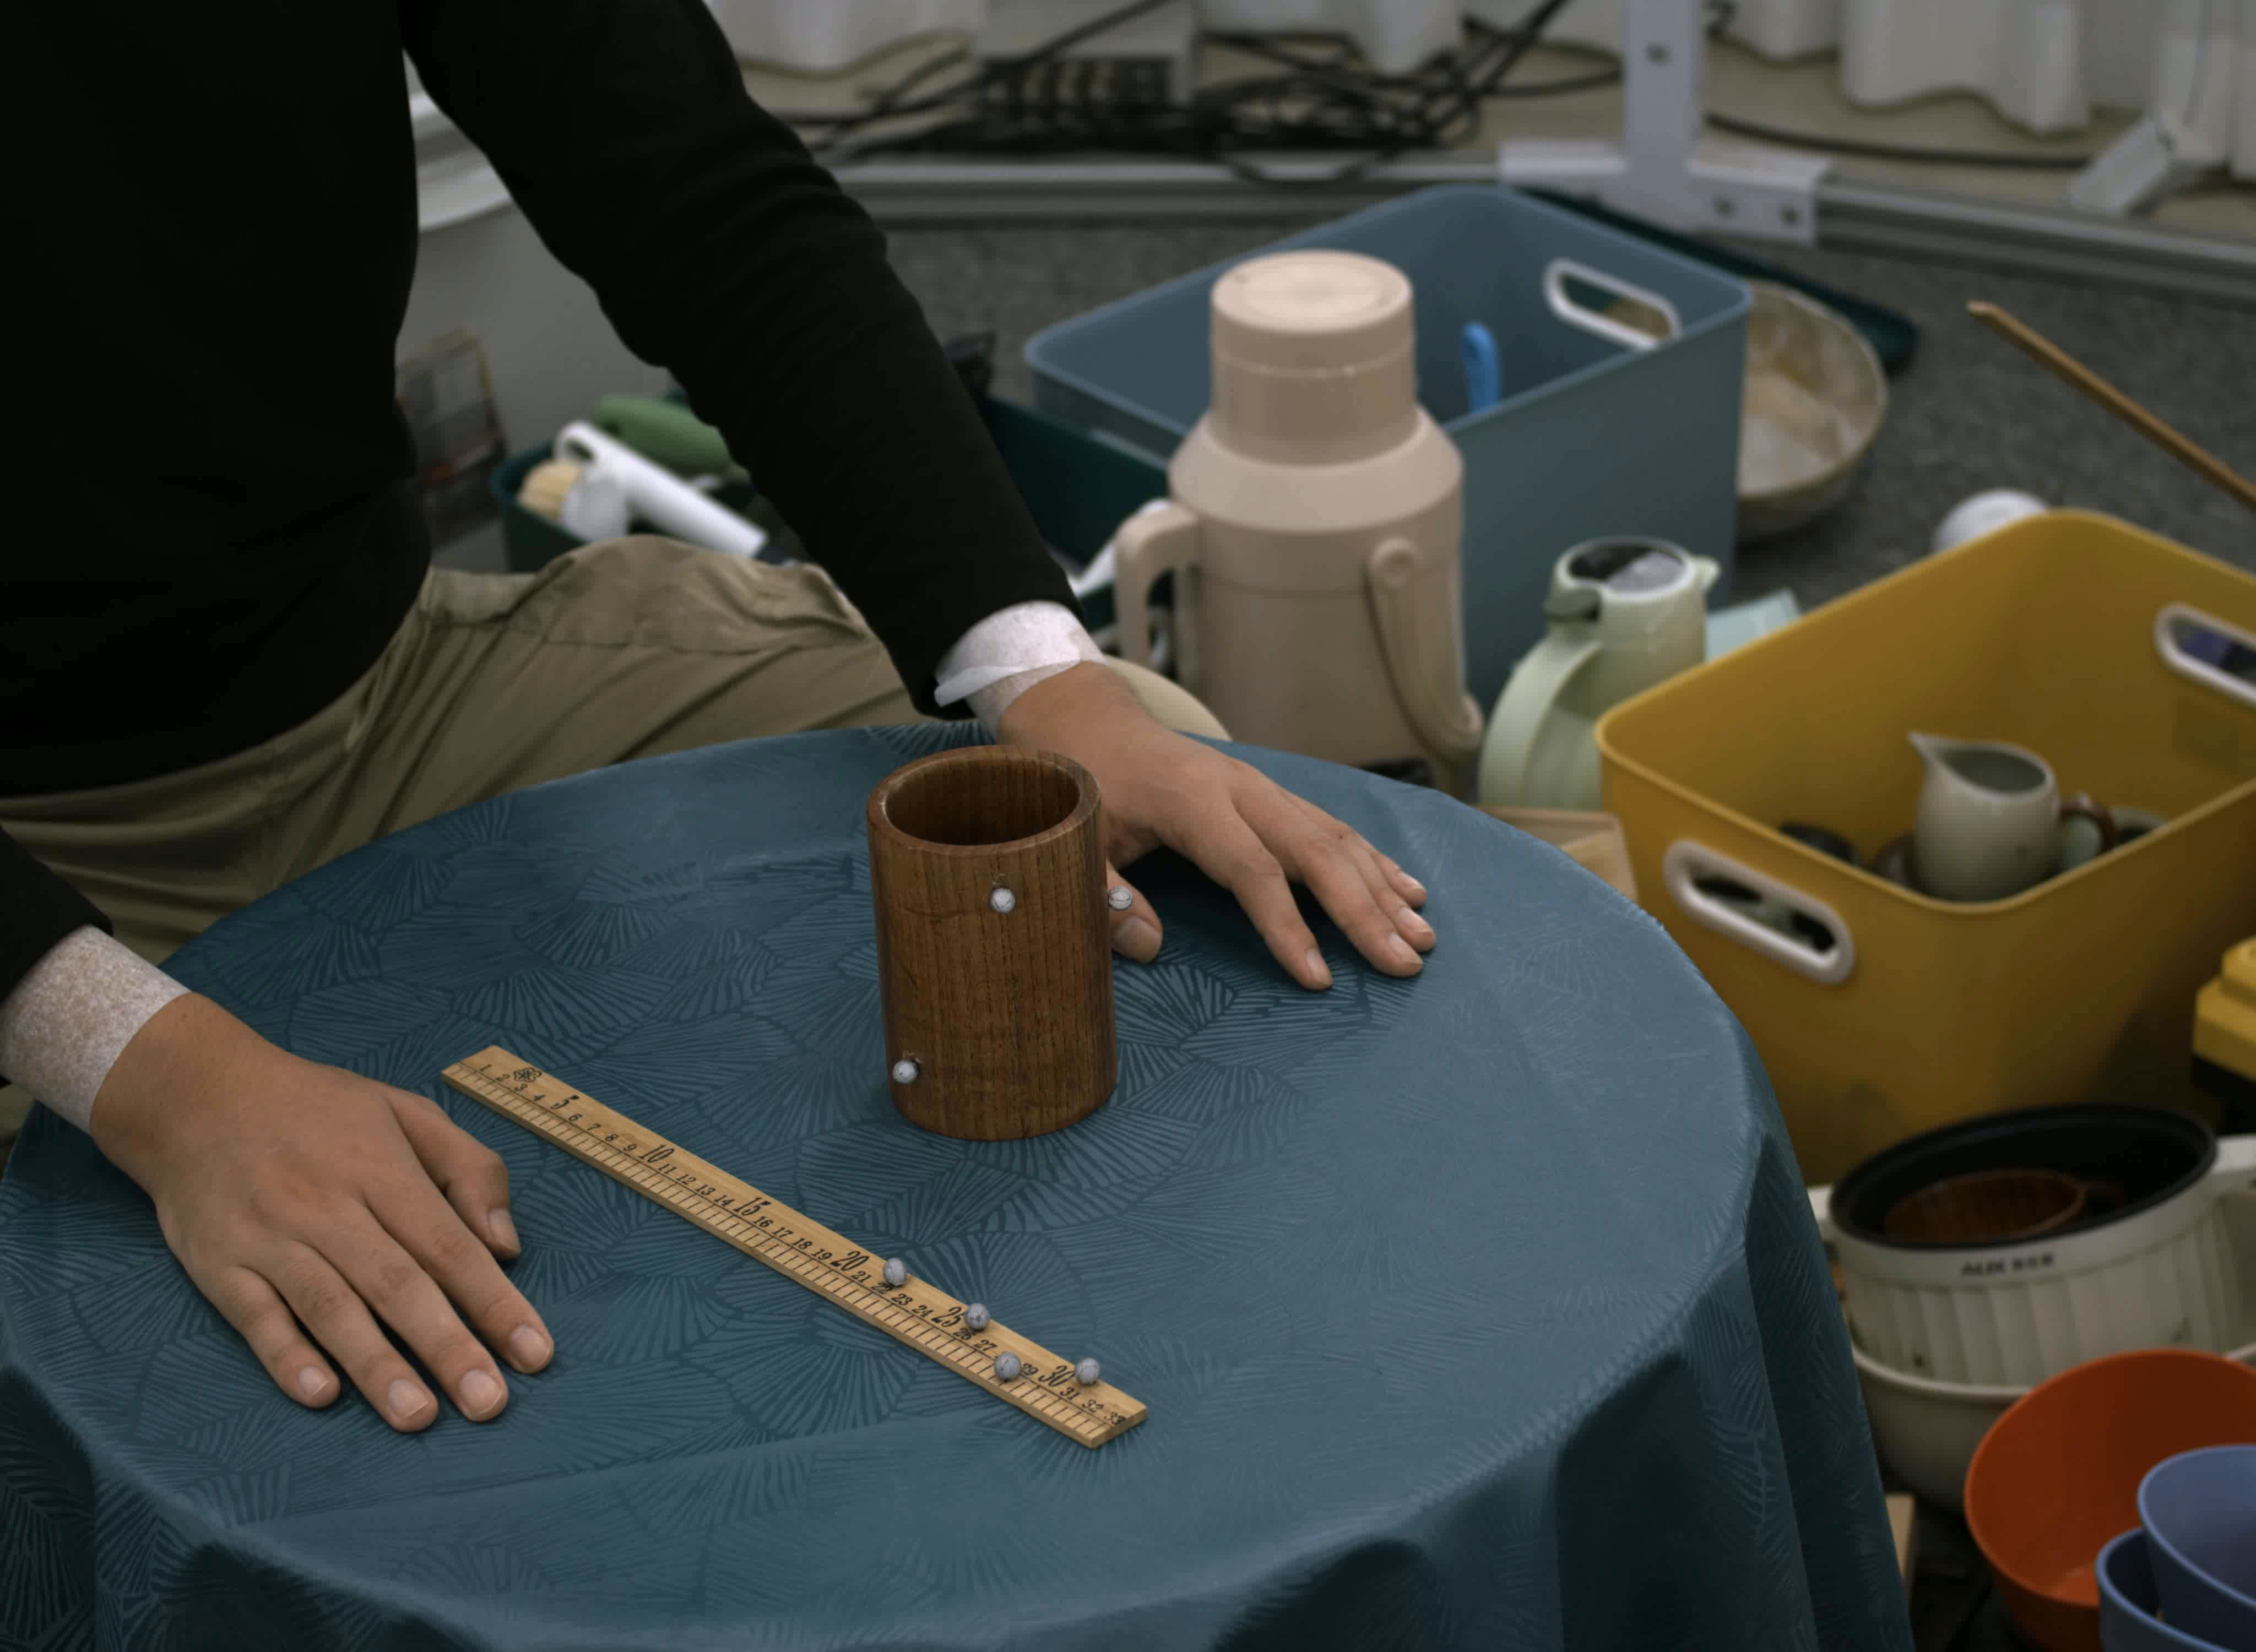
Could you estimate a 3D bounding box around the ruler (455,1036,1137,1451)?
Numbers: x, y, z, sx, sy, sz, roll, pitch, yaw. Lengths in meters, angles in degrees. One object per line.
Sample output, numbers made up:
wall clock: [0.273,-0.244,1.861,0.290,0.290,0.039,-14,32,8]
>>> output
ruler: [-0.116,0.131,1.843,0.028,0.022,0.332,-19,32,-37]

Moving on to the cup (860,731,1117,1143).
cup: [-0.046,0.038,1.903,0.087,0.117,0.089,-2,25,1]
